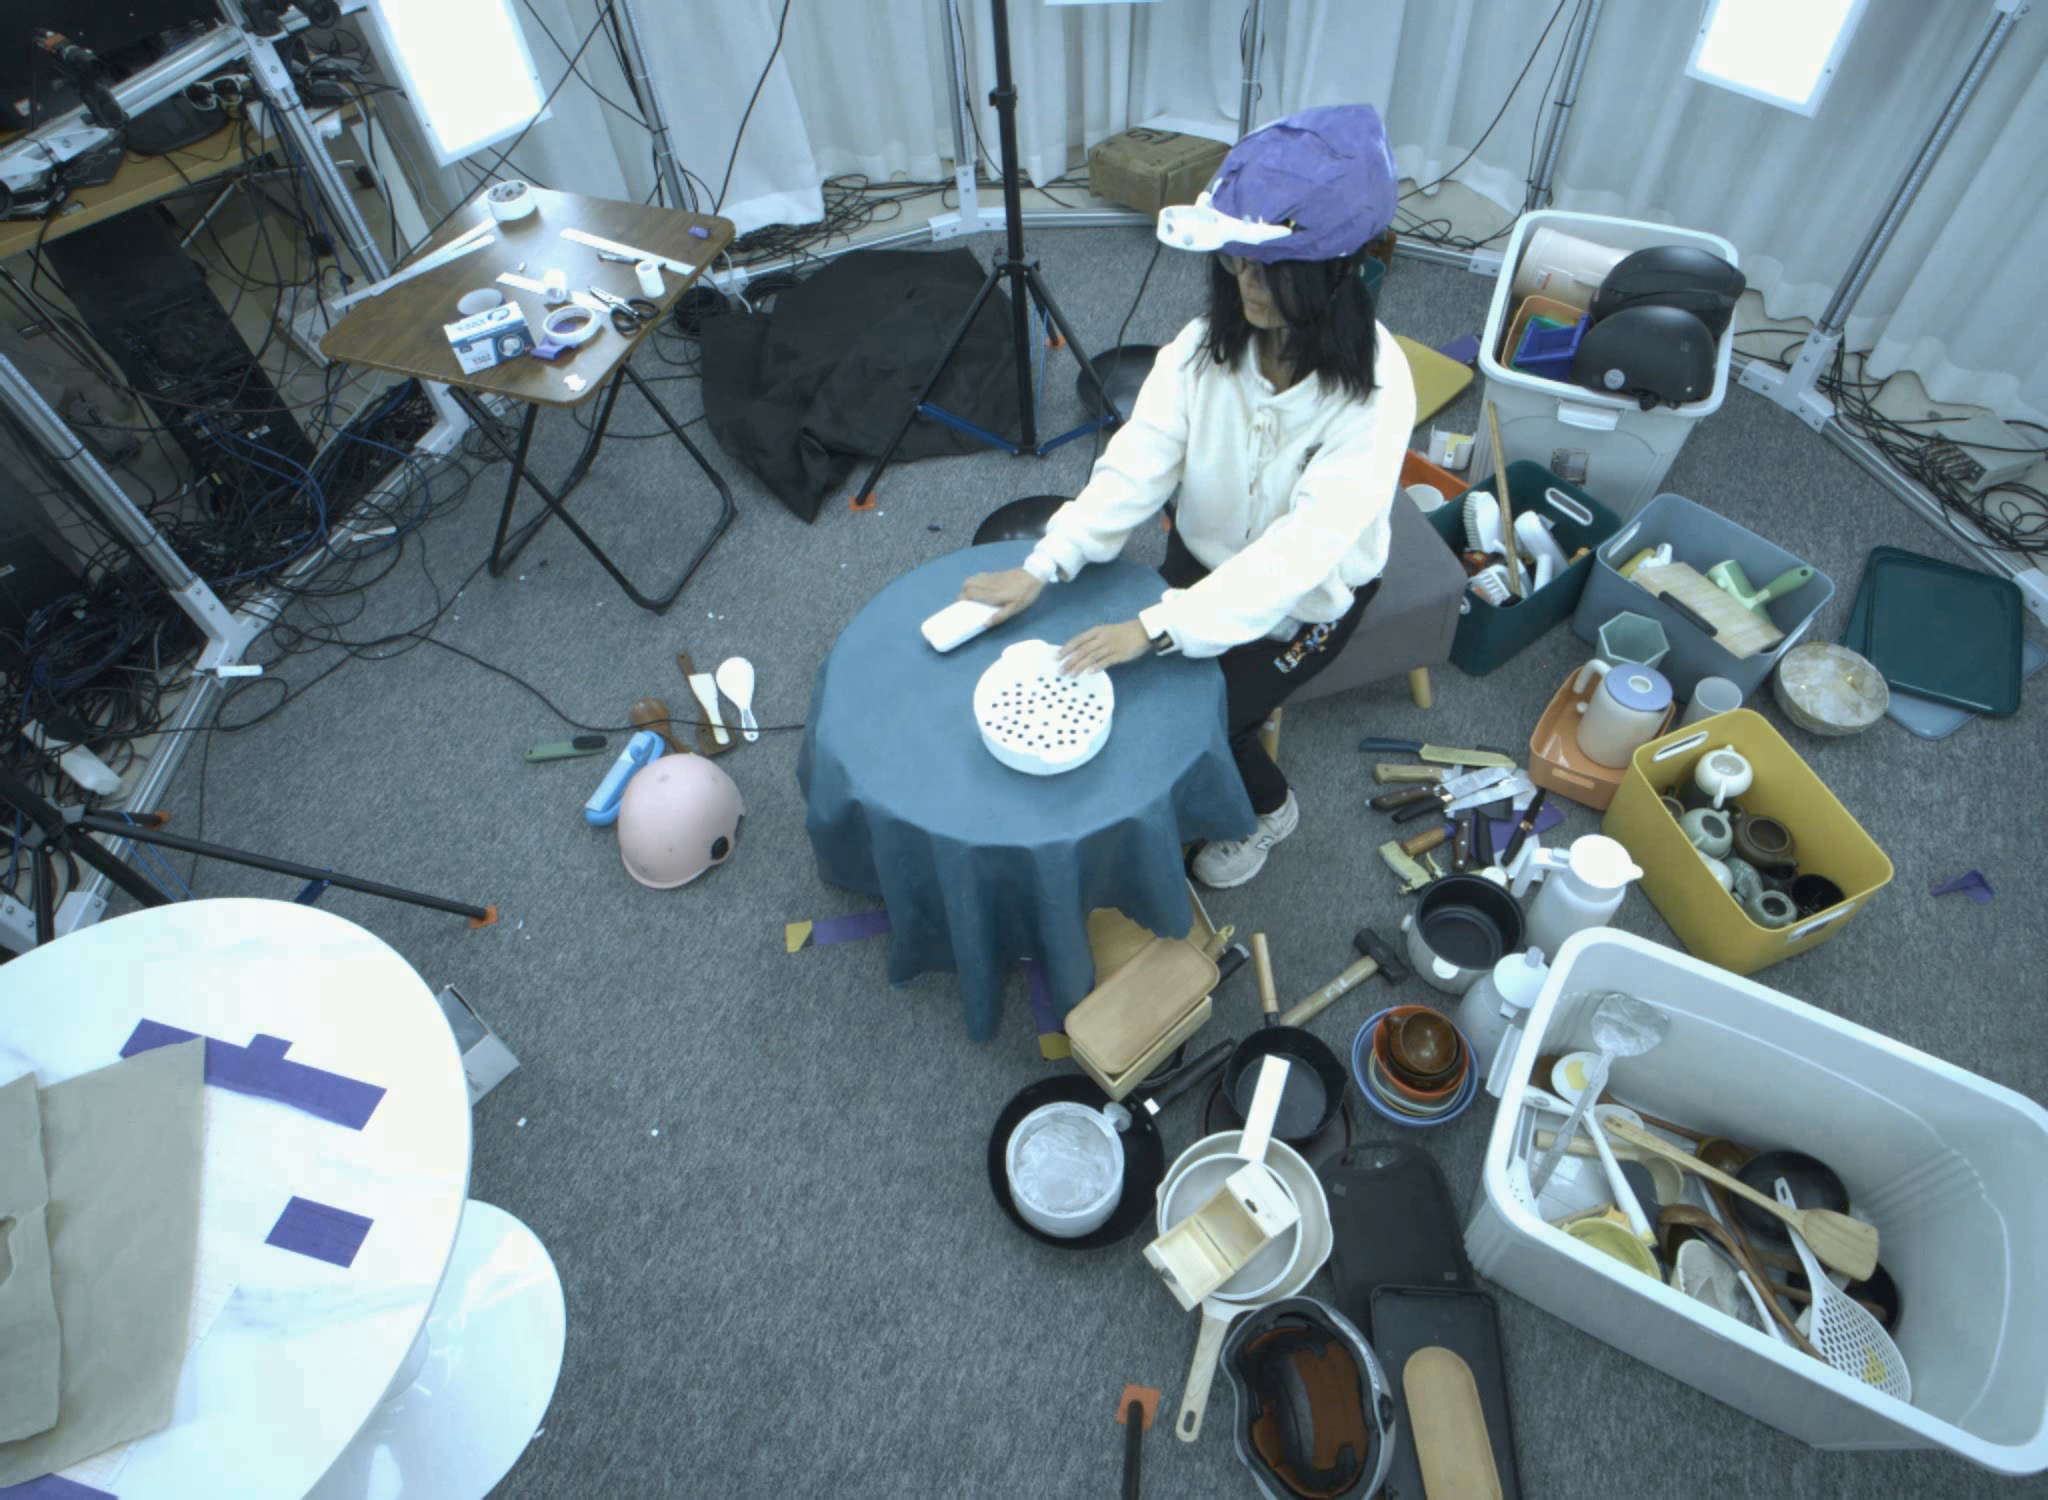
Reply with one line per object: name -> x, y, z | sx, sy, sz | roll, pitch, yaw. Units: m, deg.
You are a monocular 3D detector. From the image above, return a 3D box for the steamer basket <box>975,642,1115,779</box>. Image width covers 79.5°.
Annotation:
steamer basket -> 0.031, -0.053, 1.783 | 0.203, 0.070, 0.227 | -15, 57, -9

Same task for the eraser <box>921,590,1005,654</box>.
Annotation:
eraser -> -0.095, -0.201, 1.914 | 0.132, 0.035, 0.062 | -30, 58, -17
